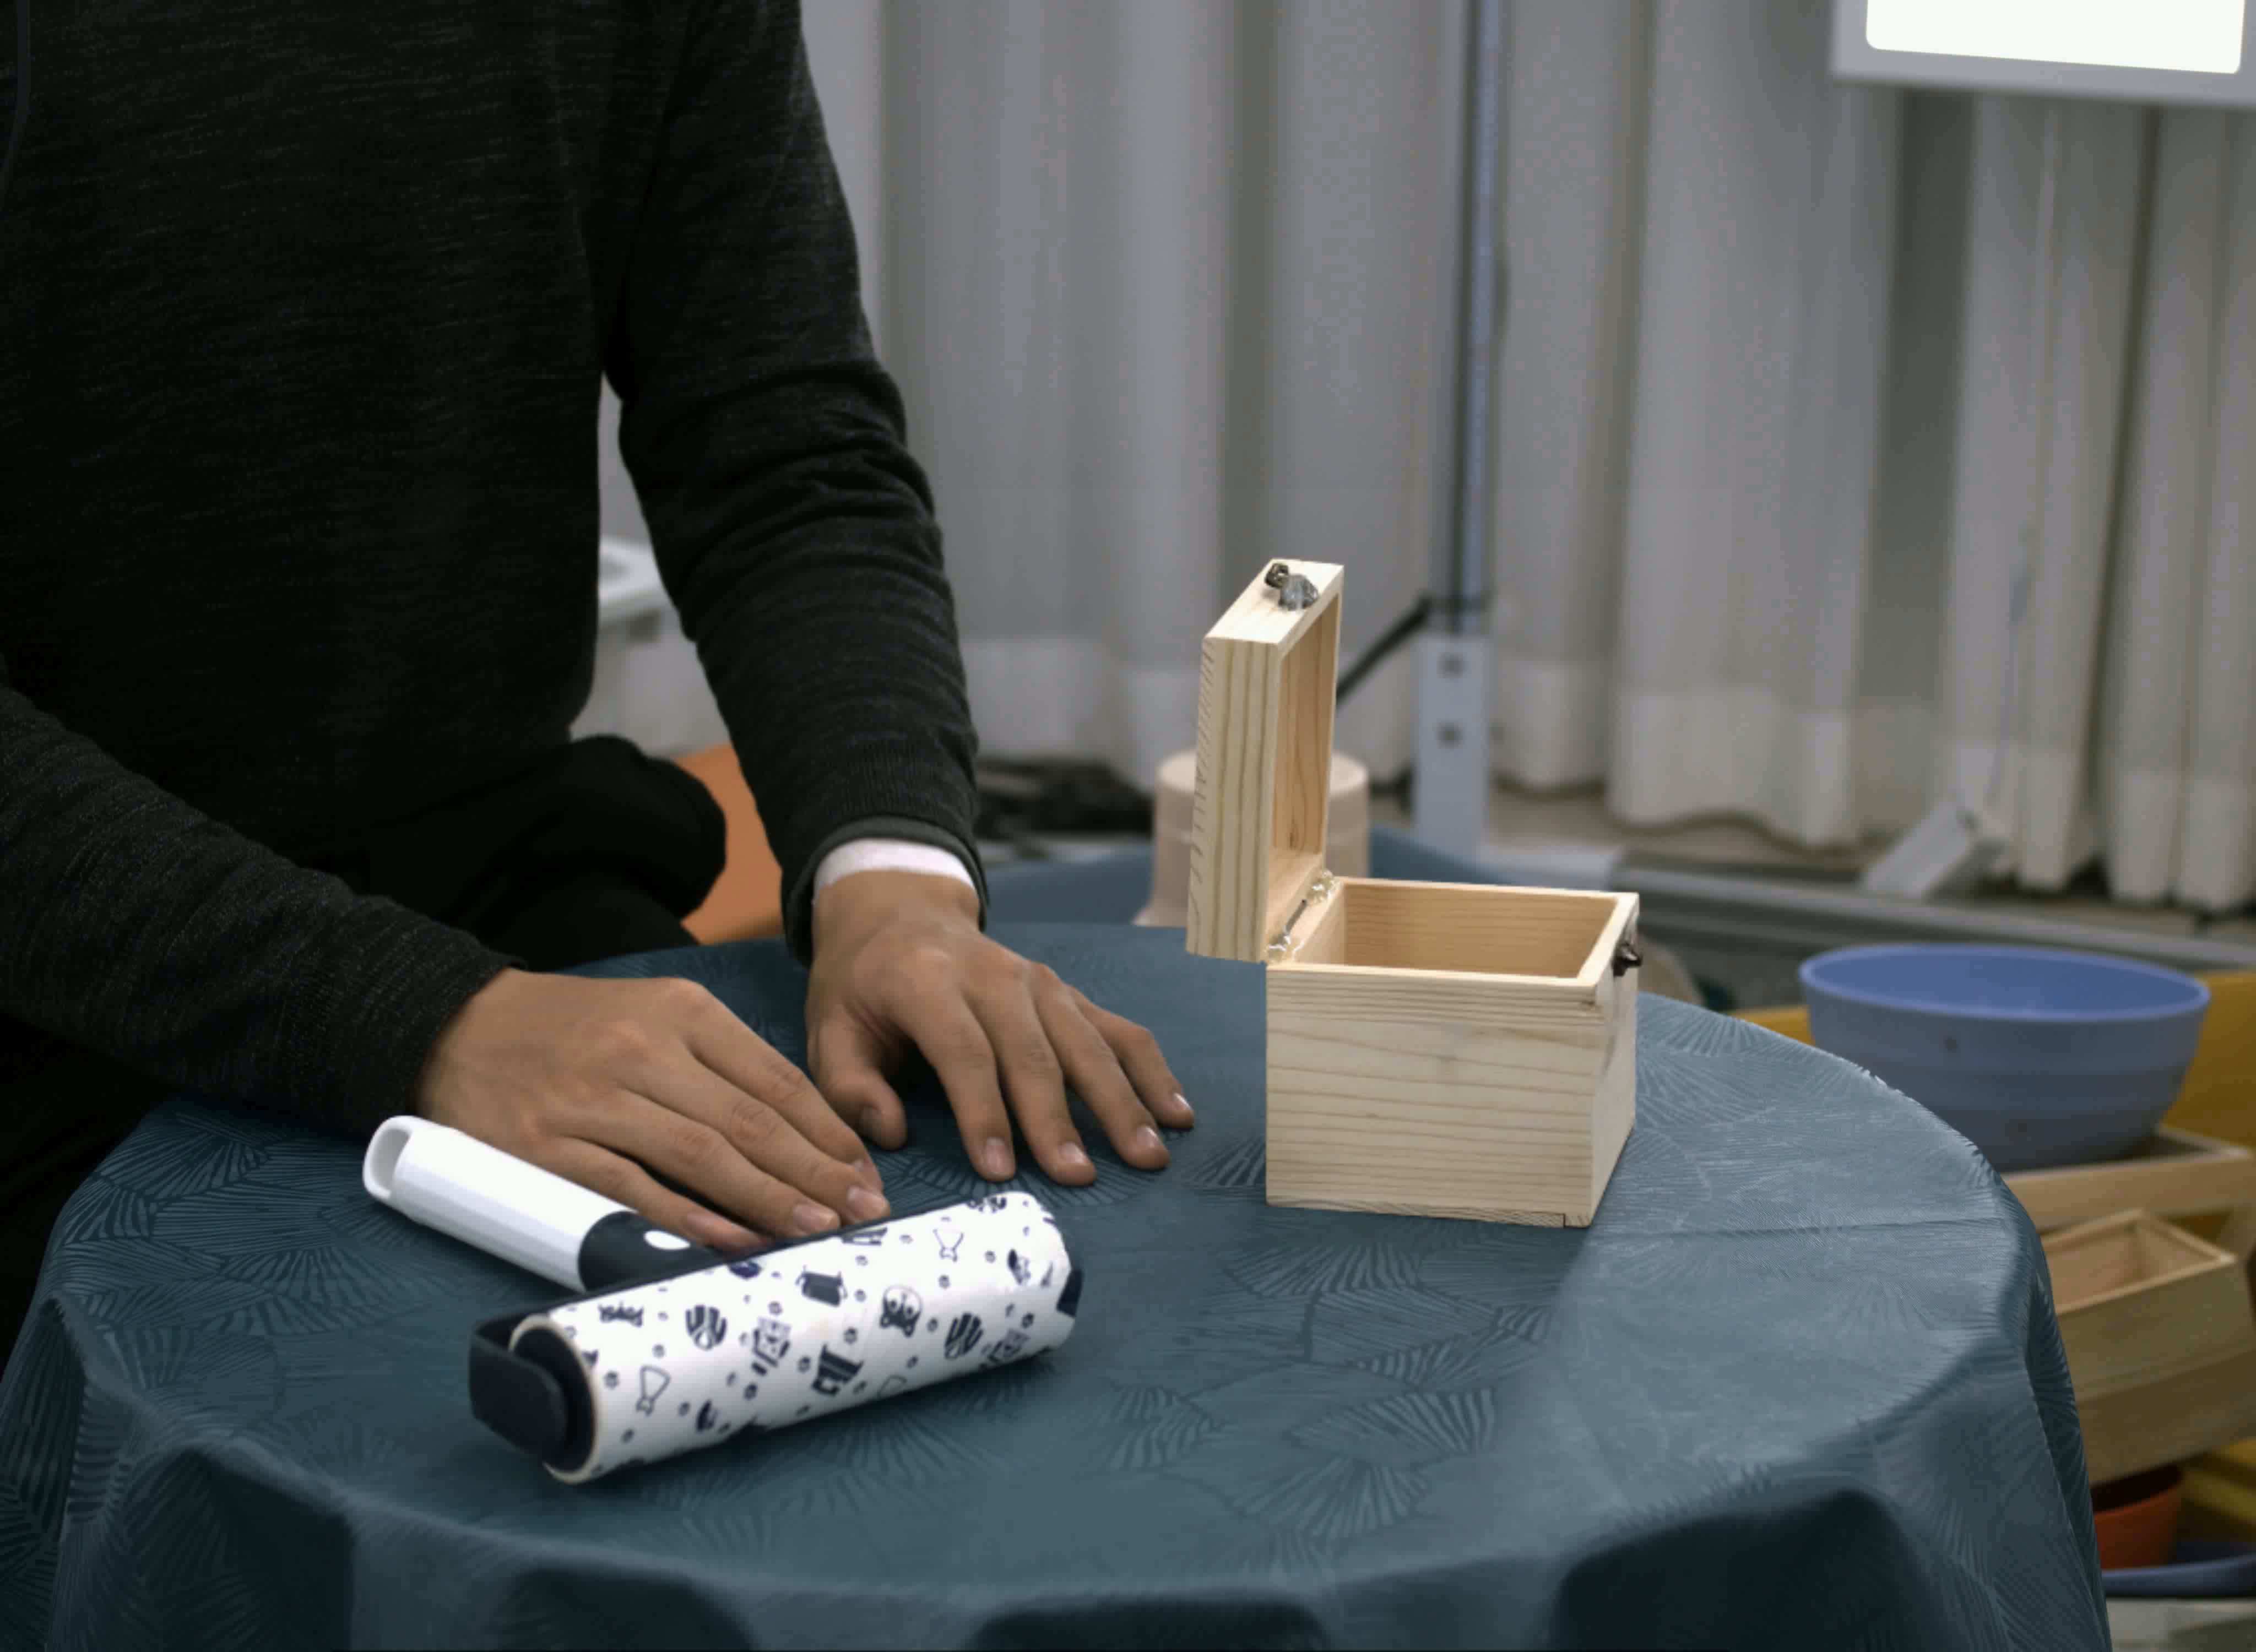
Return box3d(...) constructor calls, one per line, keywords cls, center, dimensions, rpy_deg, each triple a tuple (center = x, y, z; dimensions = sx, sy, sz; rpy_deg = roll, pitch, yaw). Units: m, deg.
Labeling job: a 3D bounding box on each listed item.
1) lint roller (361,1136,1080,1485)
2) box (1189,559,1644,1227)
box3d(cls="lint roller", center=(-0.154, 0.119, 1.510), dimensions=(0.177, 0.051, 0.244), rpy_deg=(-13, 19, -37))
box3d(cls="box", center=(0.093, 0.018, 1.622), dimensions=(0.133, 0.186, 0.102), rpy_deg=(3, 16, 11))
